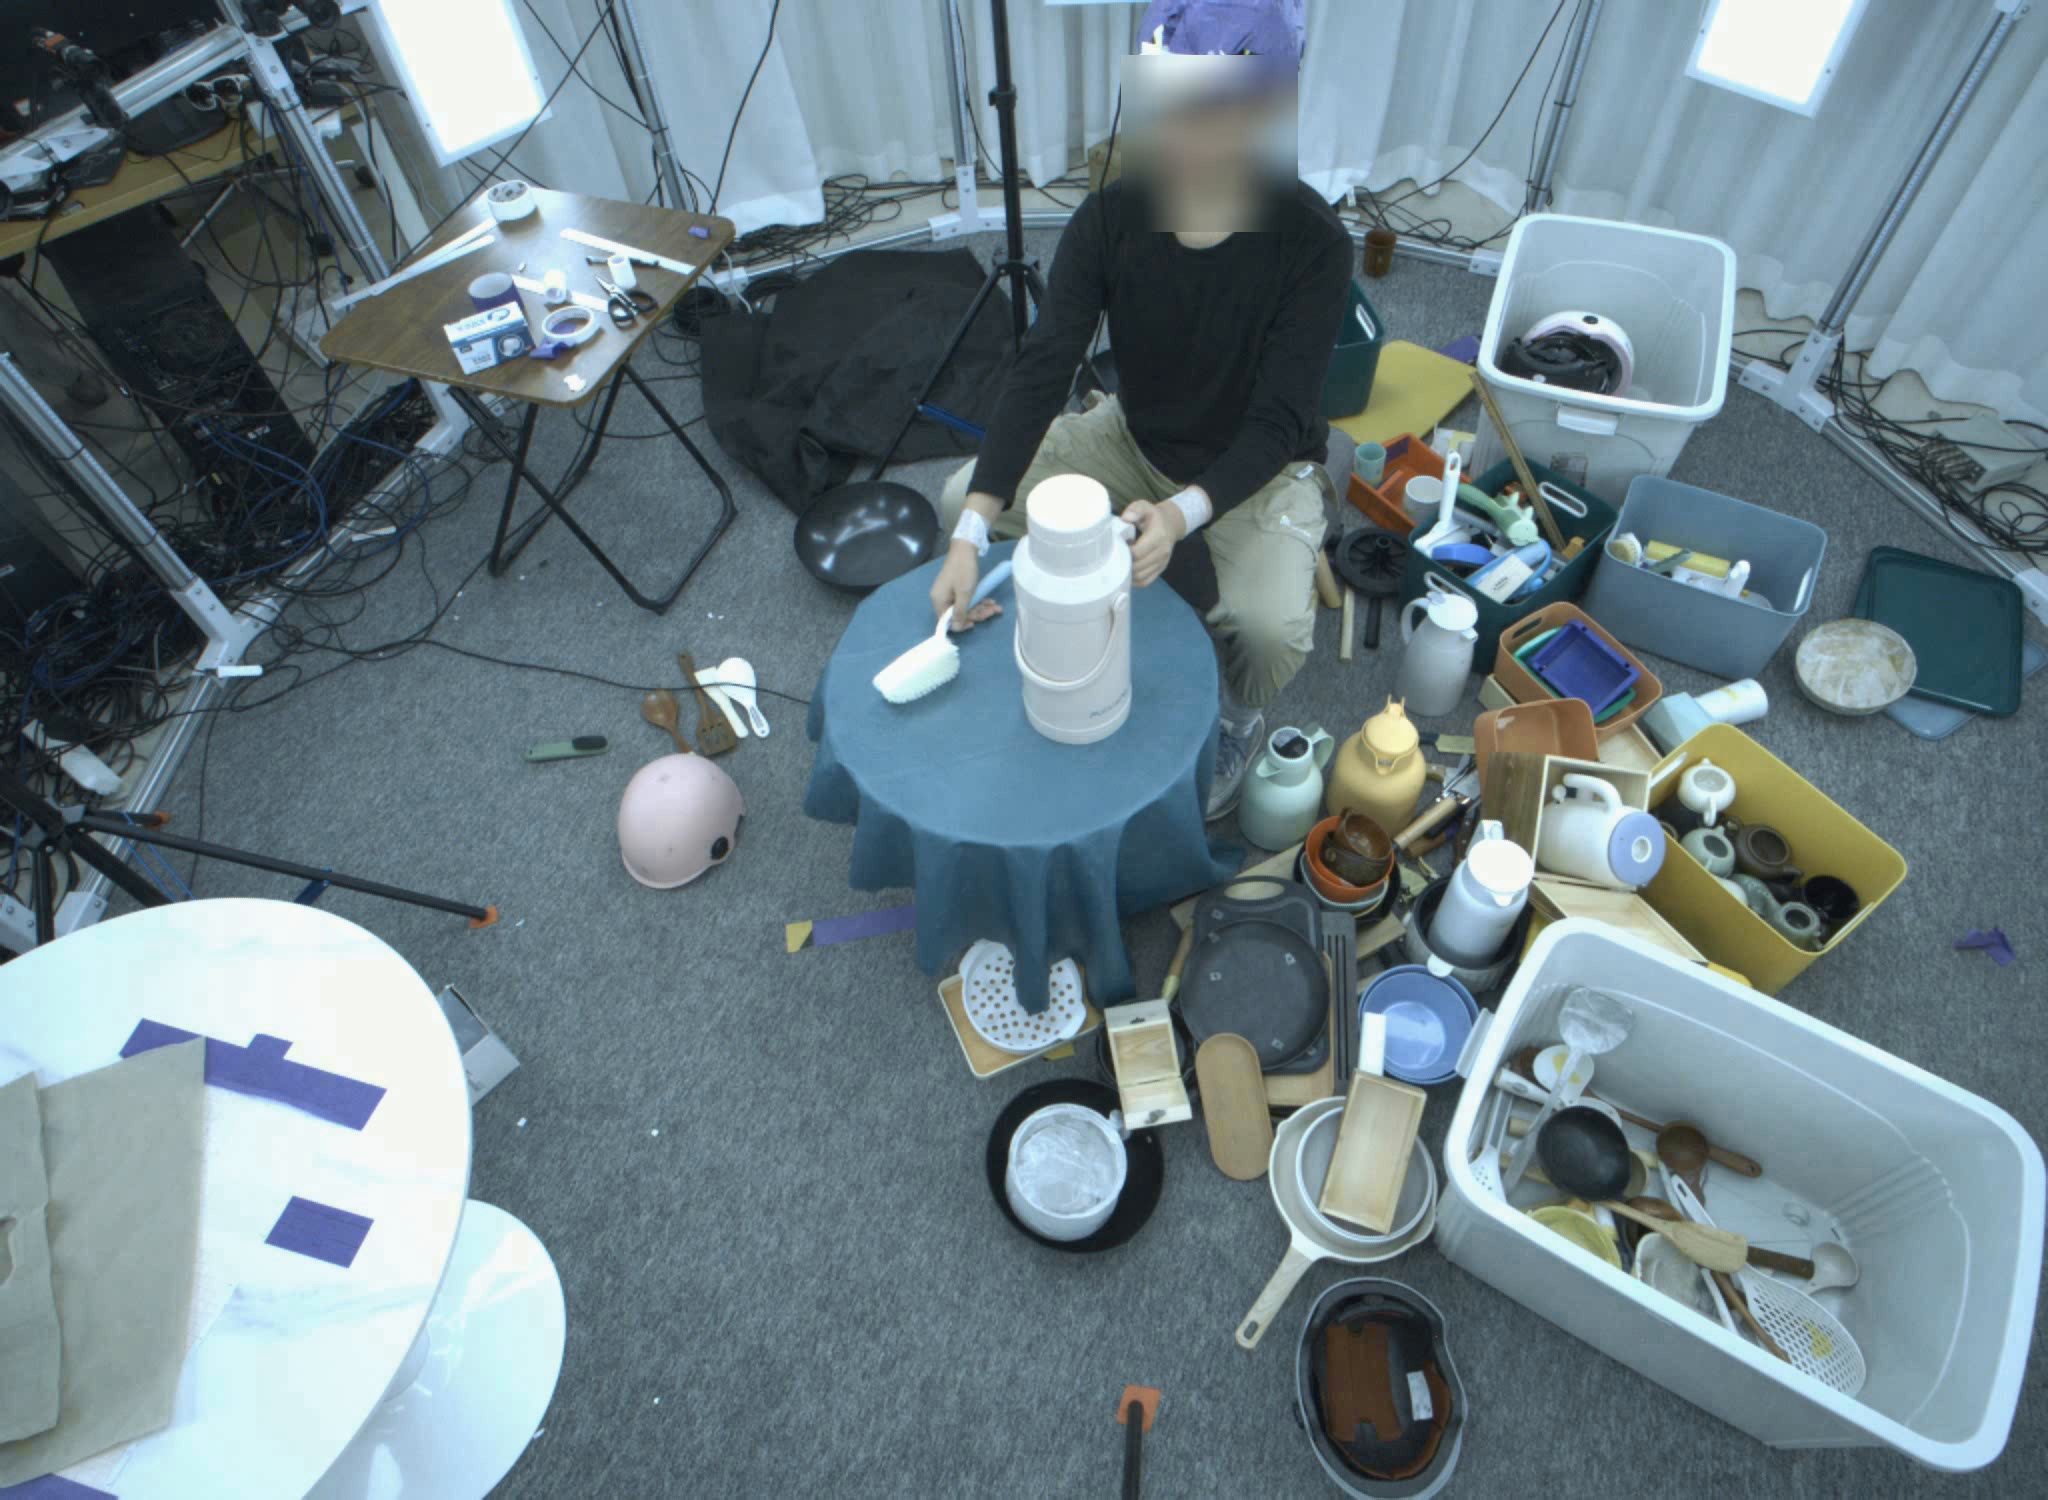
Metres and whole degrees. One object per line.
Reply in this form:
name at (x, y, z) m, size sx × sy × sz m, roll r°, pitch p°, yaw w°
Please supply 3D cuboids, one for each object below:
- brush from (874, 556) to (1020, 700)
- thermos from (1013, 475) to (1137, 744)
brush at (-0.093, -0.186, 1.874) m, size 0.327 × 0.082 × 0.085 m, roll -44°, pitch 102°, yaw -23°
thermos at (0.080, -0.195, 1.679) m, size 0.172 × 0.411 × 0.208 m, roll 33°, pitch 63°, yaw 26°
